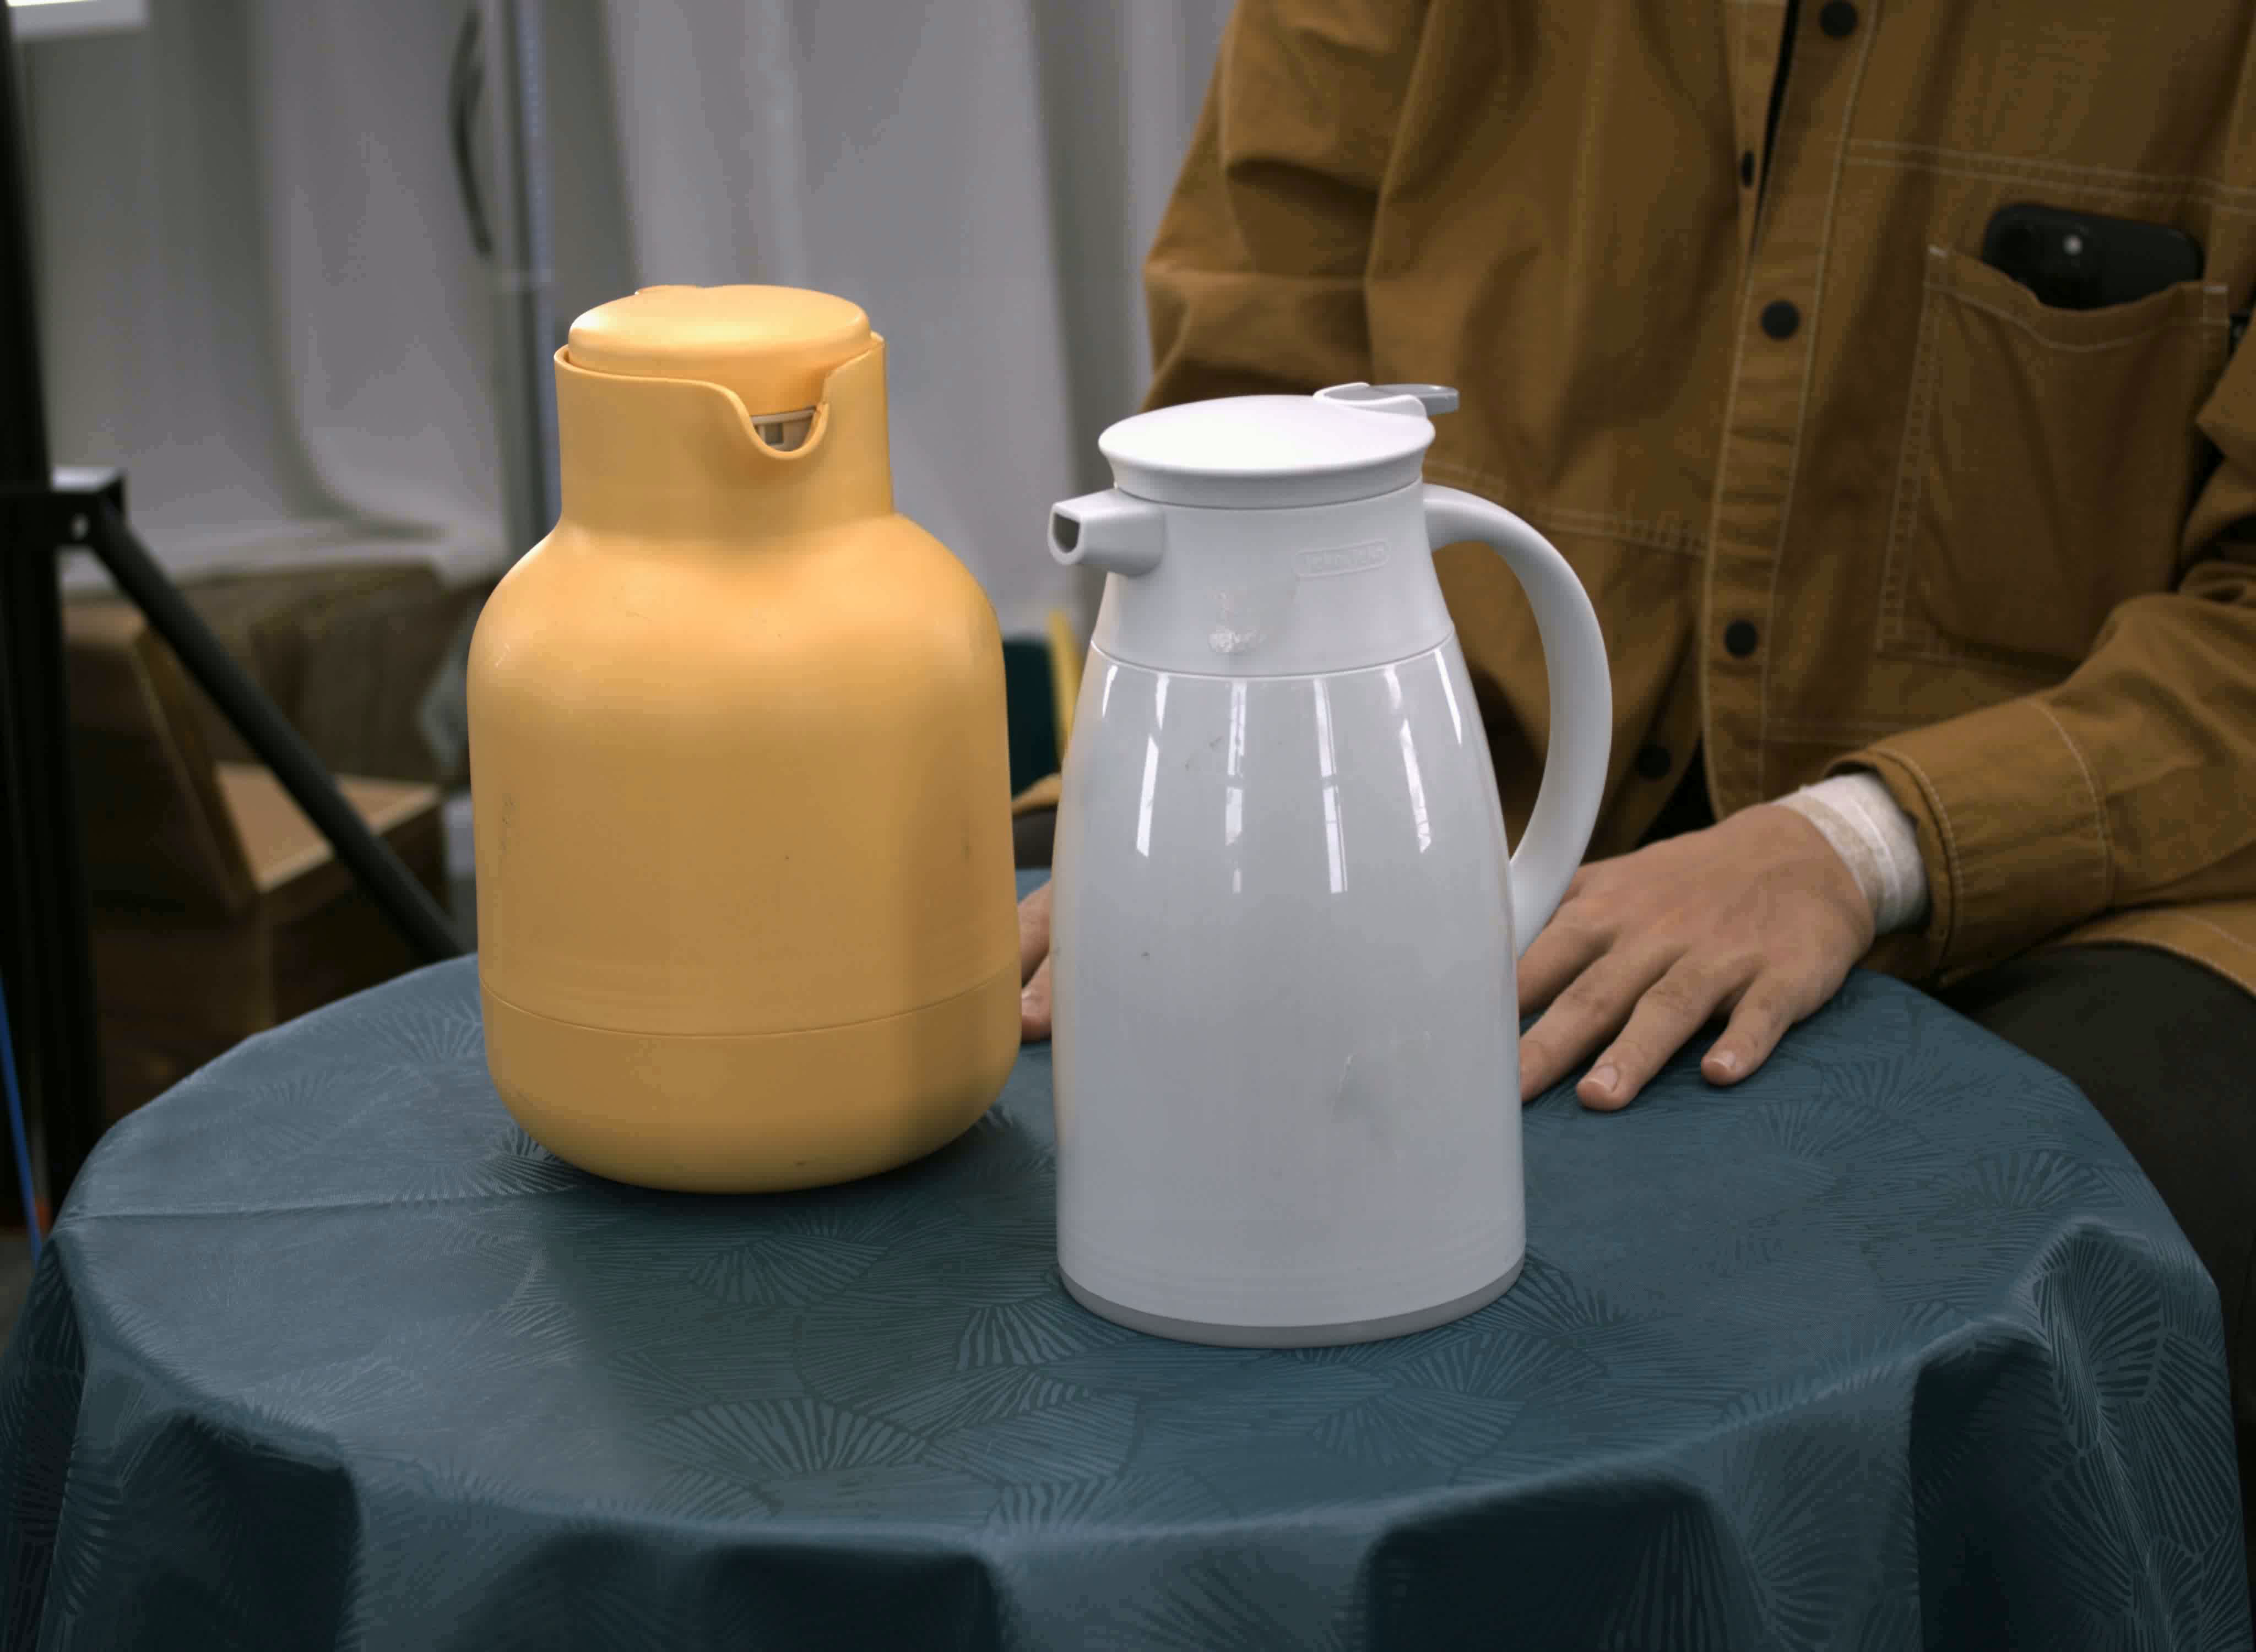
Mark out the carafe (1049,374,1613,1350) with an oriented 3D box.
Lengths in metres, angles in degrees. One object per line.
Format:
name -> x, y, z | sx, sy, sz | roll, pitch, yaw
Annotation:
carafe -> 0.058, 0.002, 1.467 | 0.164, 0.248, 0.135 | -9, 16, -25

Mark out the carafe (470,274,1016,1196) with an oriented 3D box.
carafe -> -0.120, -0.035, 1.607 | 0.161, 0.260, 0.205 | -4, 16, -15
